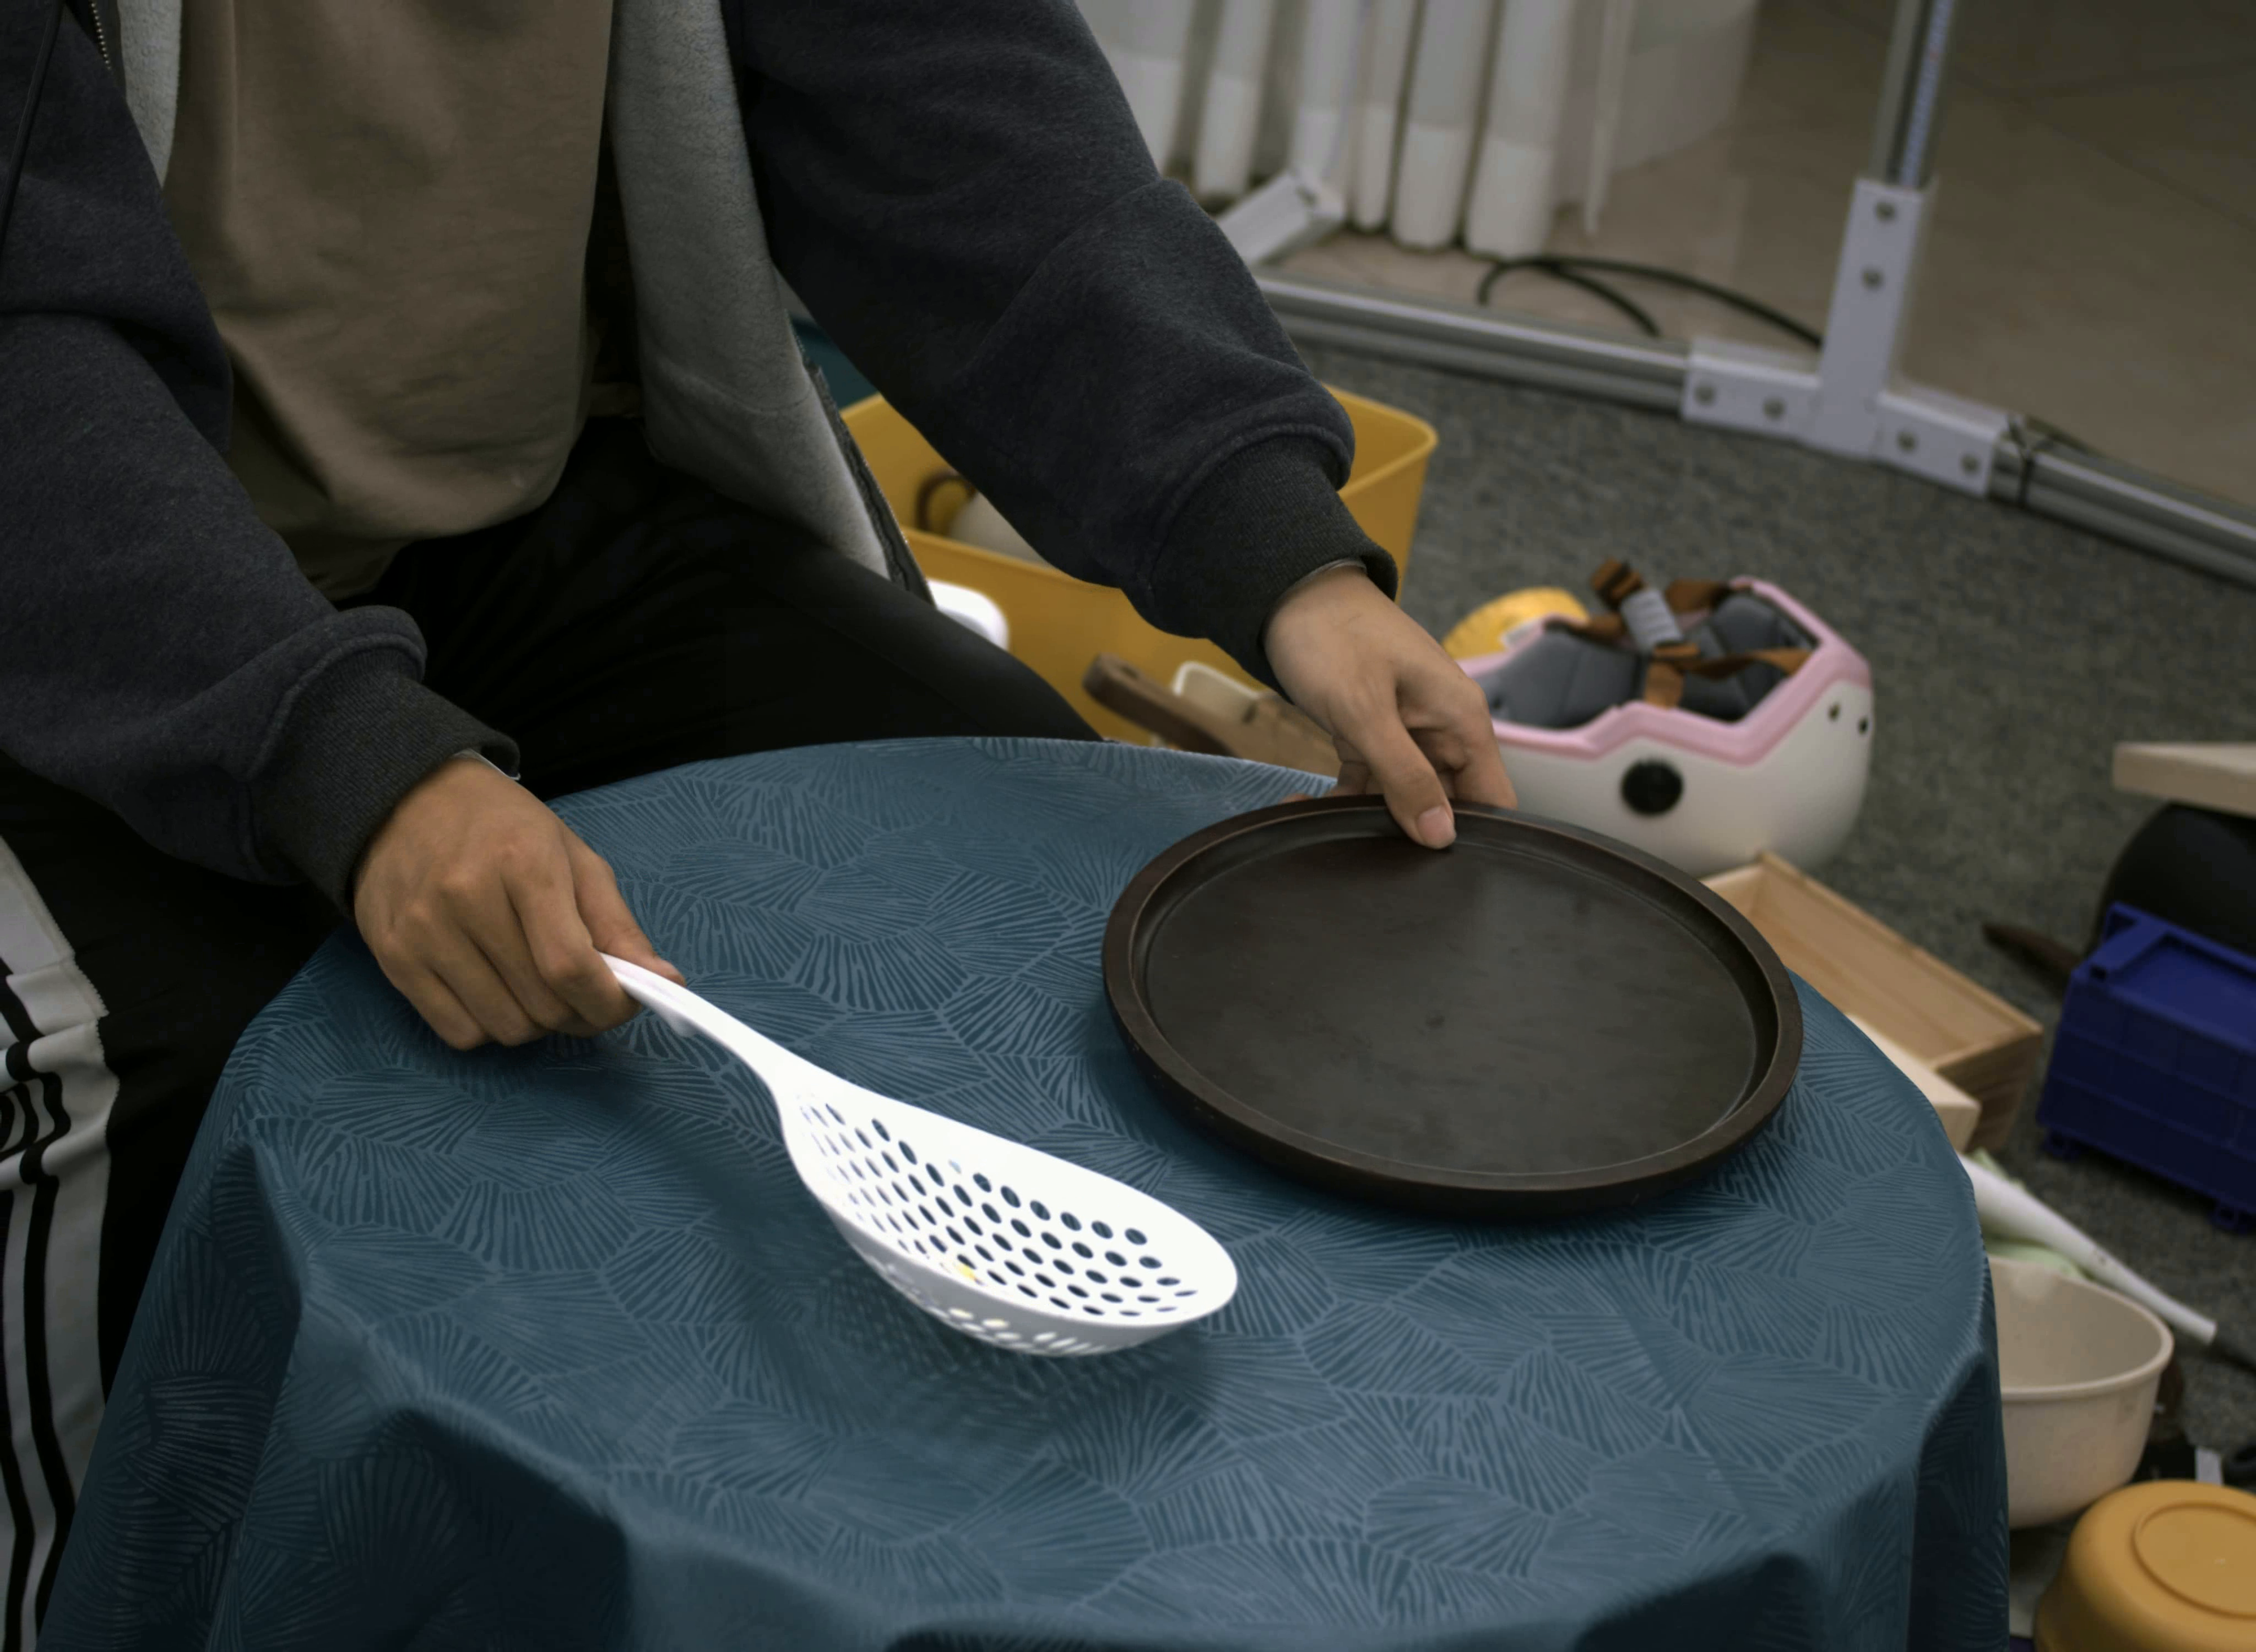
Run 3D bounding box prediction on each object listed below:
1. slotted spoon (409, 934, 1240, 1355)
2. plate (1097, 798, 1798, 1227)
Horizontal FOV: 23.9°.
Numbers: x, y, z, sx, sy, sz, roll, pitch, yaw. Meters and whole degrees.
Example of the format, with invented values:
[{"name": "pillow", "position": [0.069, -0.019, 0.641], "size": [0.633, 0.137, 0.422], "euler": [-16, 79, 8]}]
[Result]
[{"name": "slotted spoon", "position": [-0.114, 0.095, 1.768], "size": [0.350, 0.050, 0.136], "euler": [32, 24, 34]}, {"name": "plate", "position": [0.113, 0.064, 1.899], "size": [0.254, 0.029, 0.256], "euler": [4, 32, -3]}]
